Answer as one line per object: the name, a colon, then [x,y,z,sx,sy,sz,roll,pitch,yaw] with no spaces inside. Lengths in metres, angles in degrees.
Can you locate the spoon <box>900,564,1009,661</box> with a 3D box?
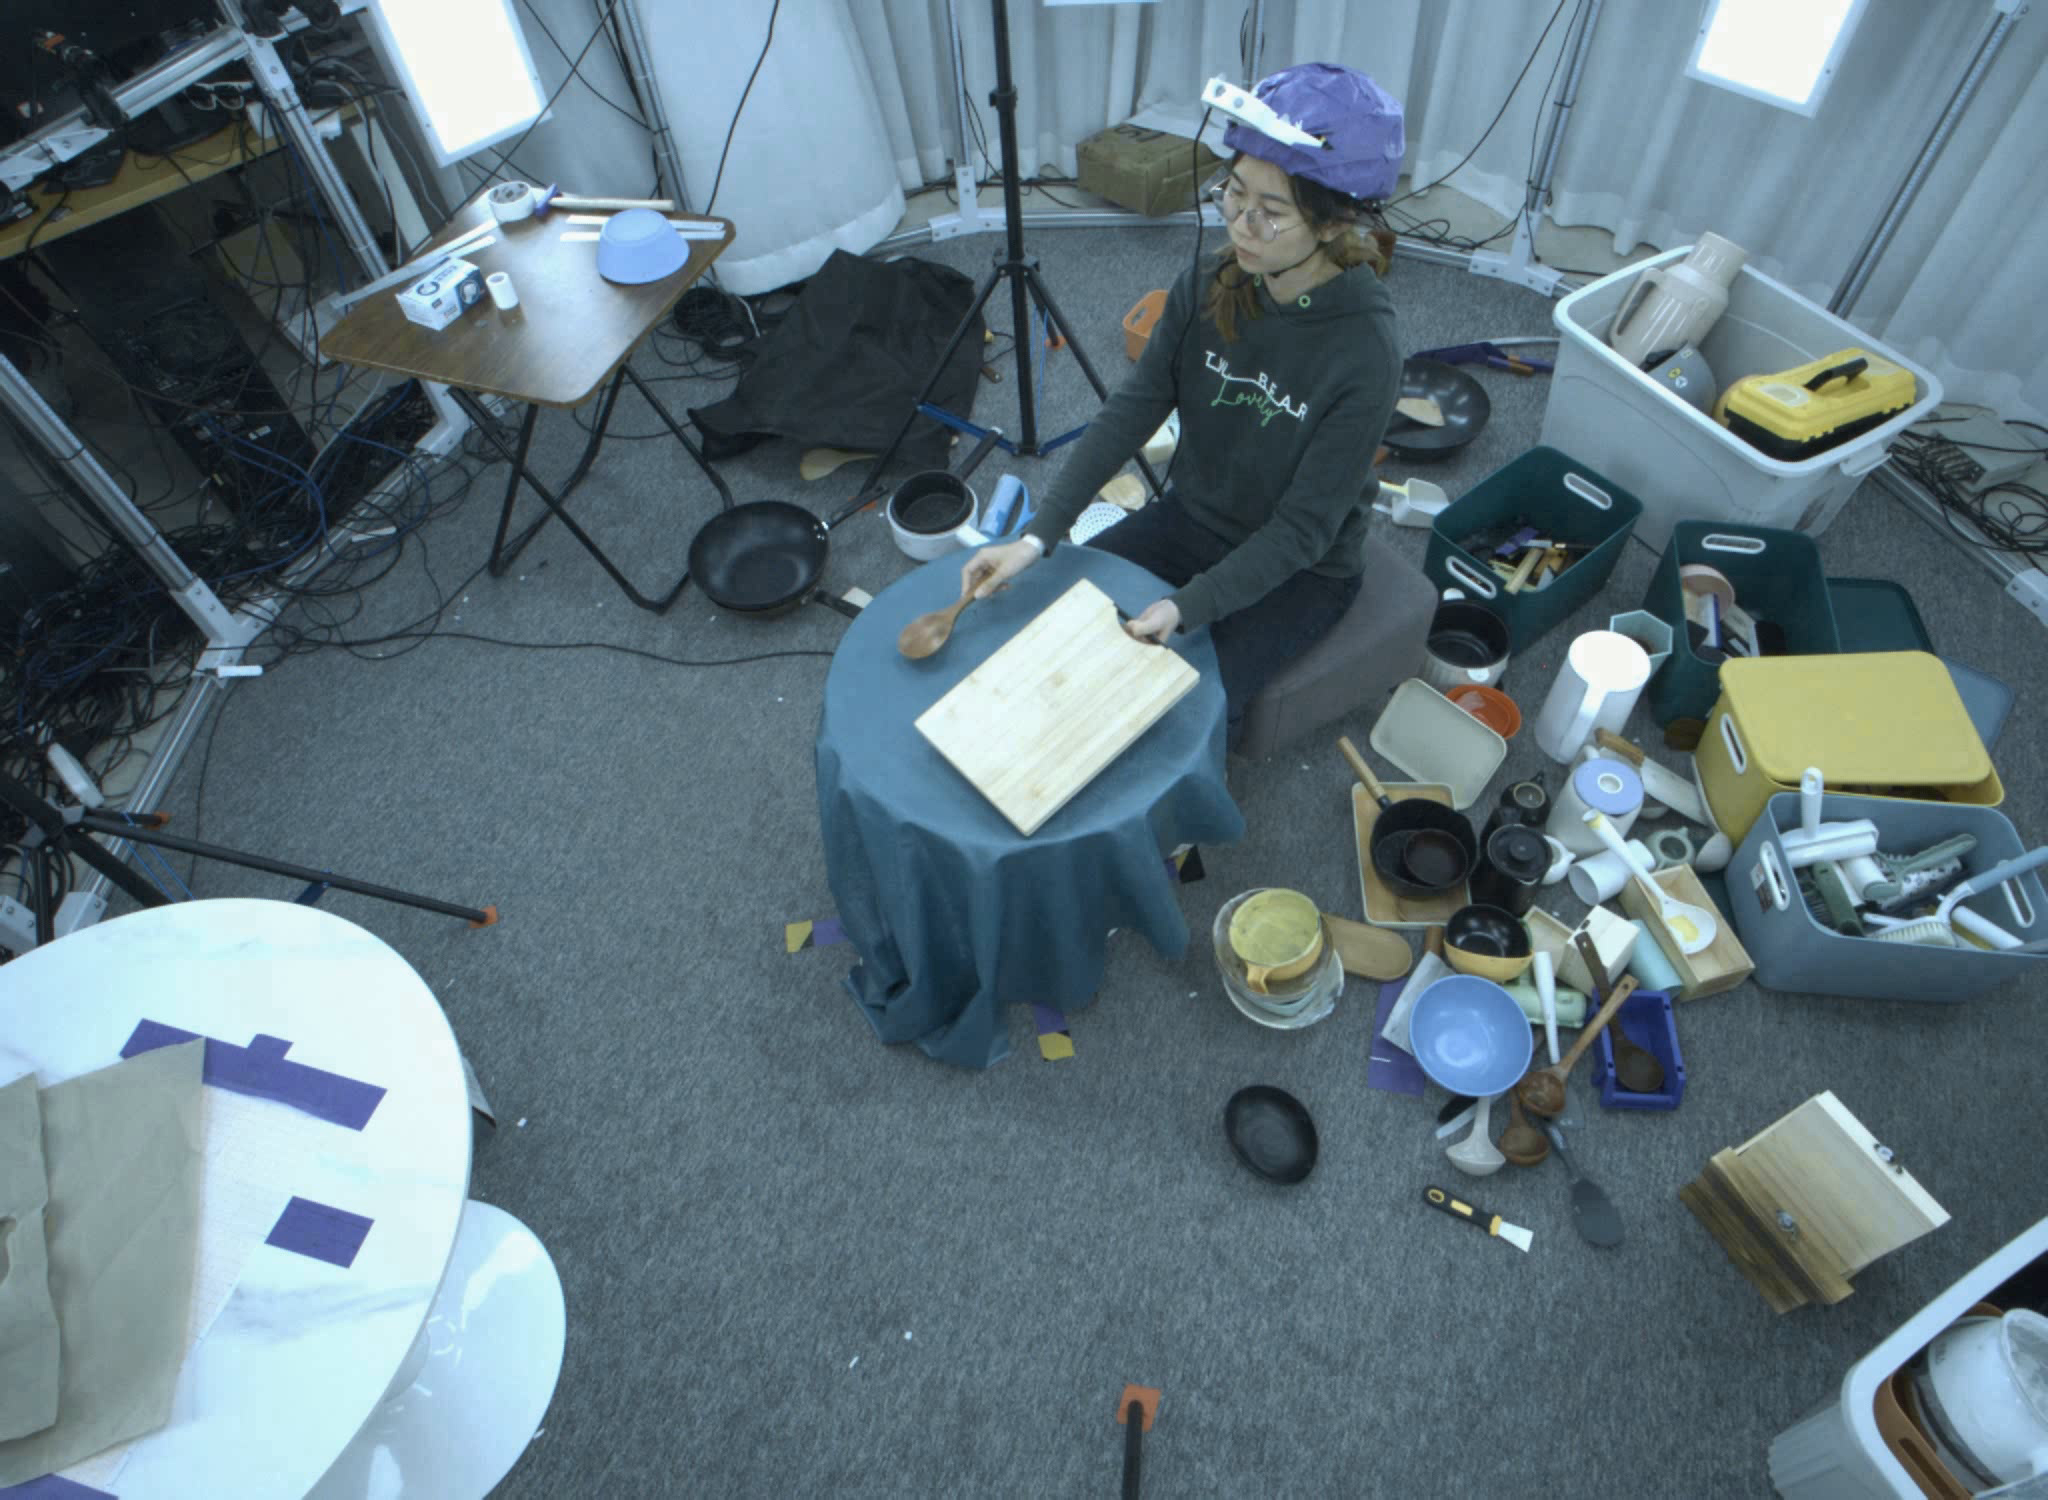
spoon: [-0.104,-0.213,1.898,0.216,0.017,0.074,-45,59,-13]

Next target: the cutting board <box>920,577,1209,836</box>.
cutting board: [0.056,-0.070,1.762,0.350,0.024,0.247,-42,71,-14]
